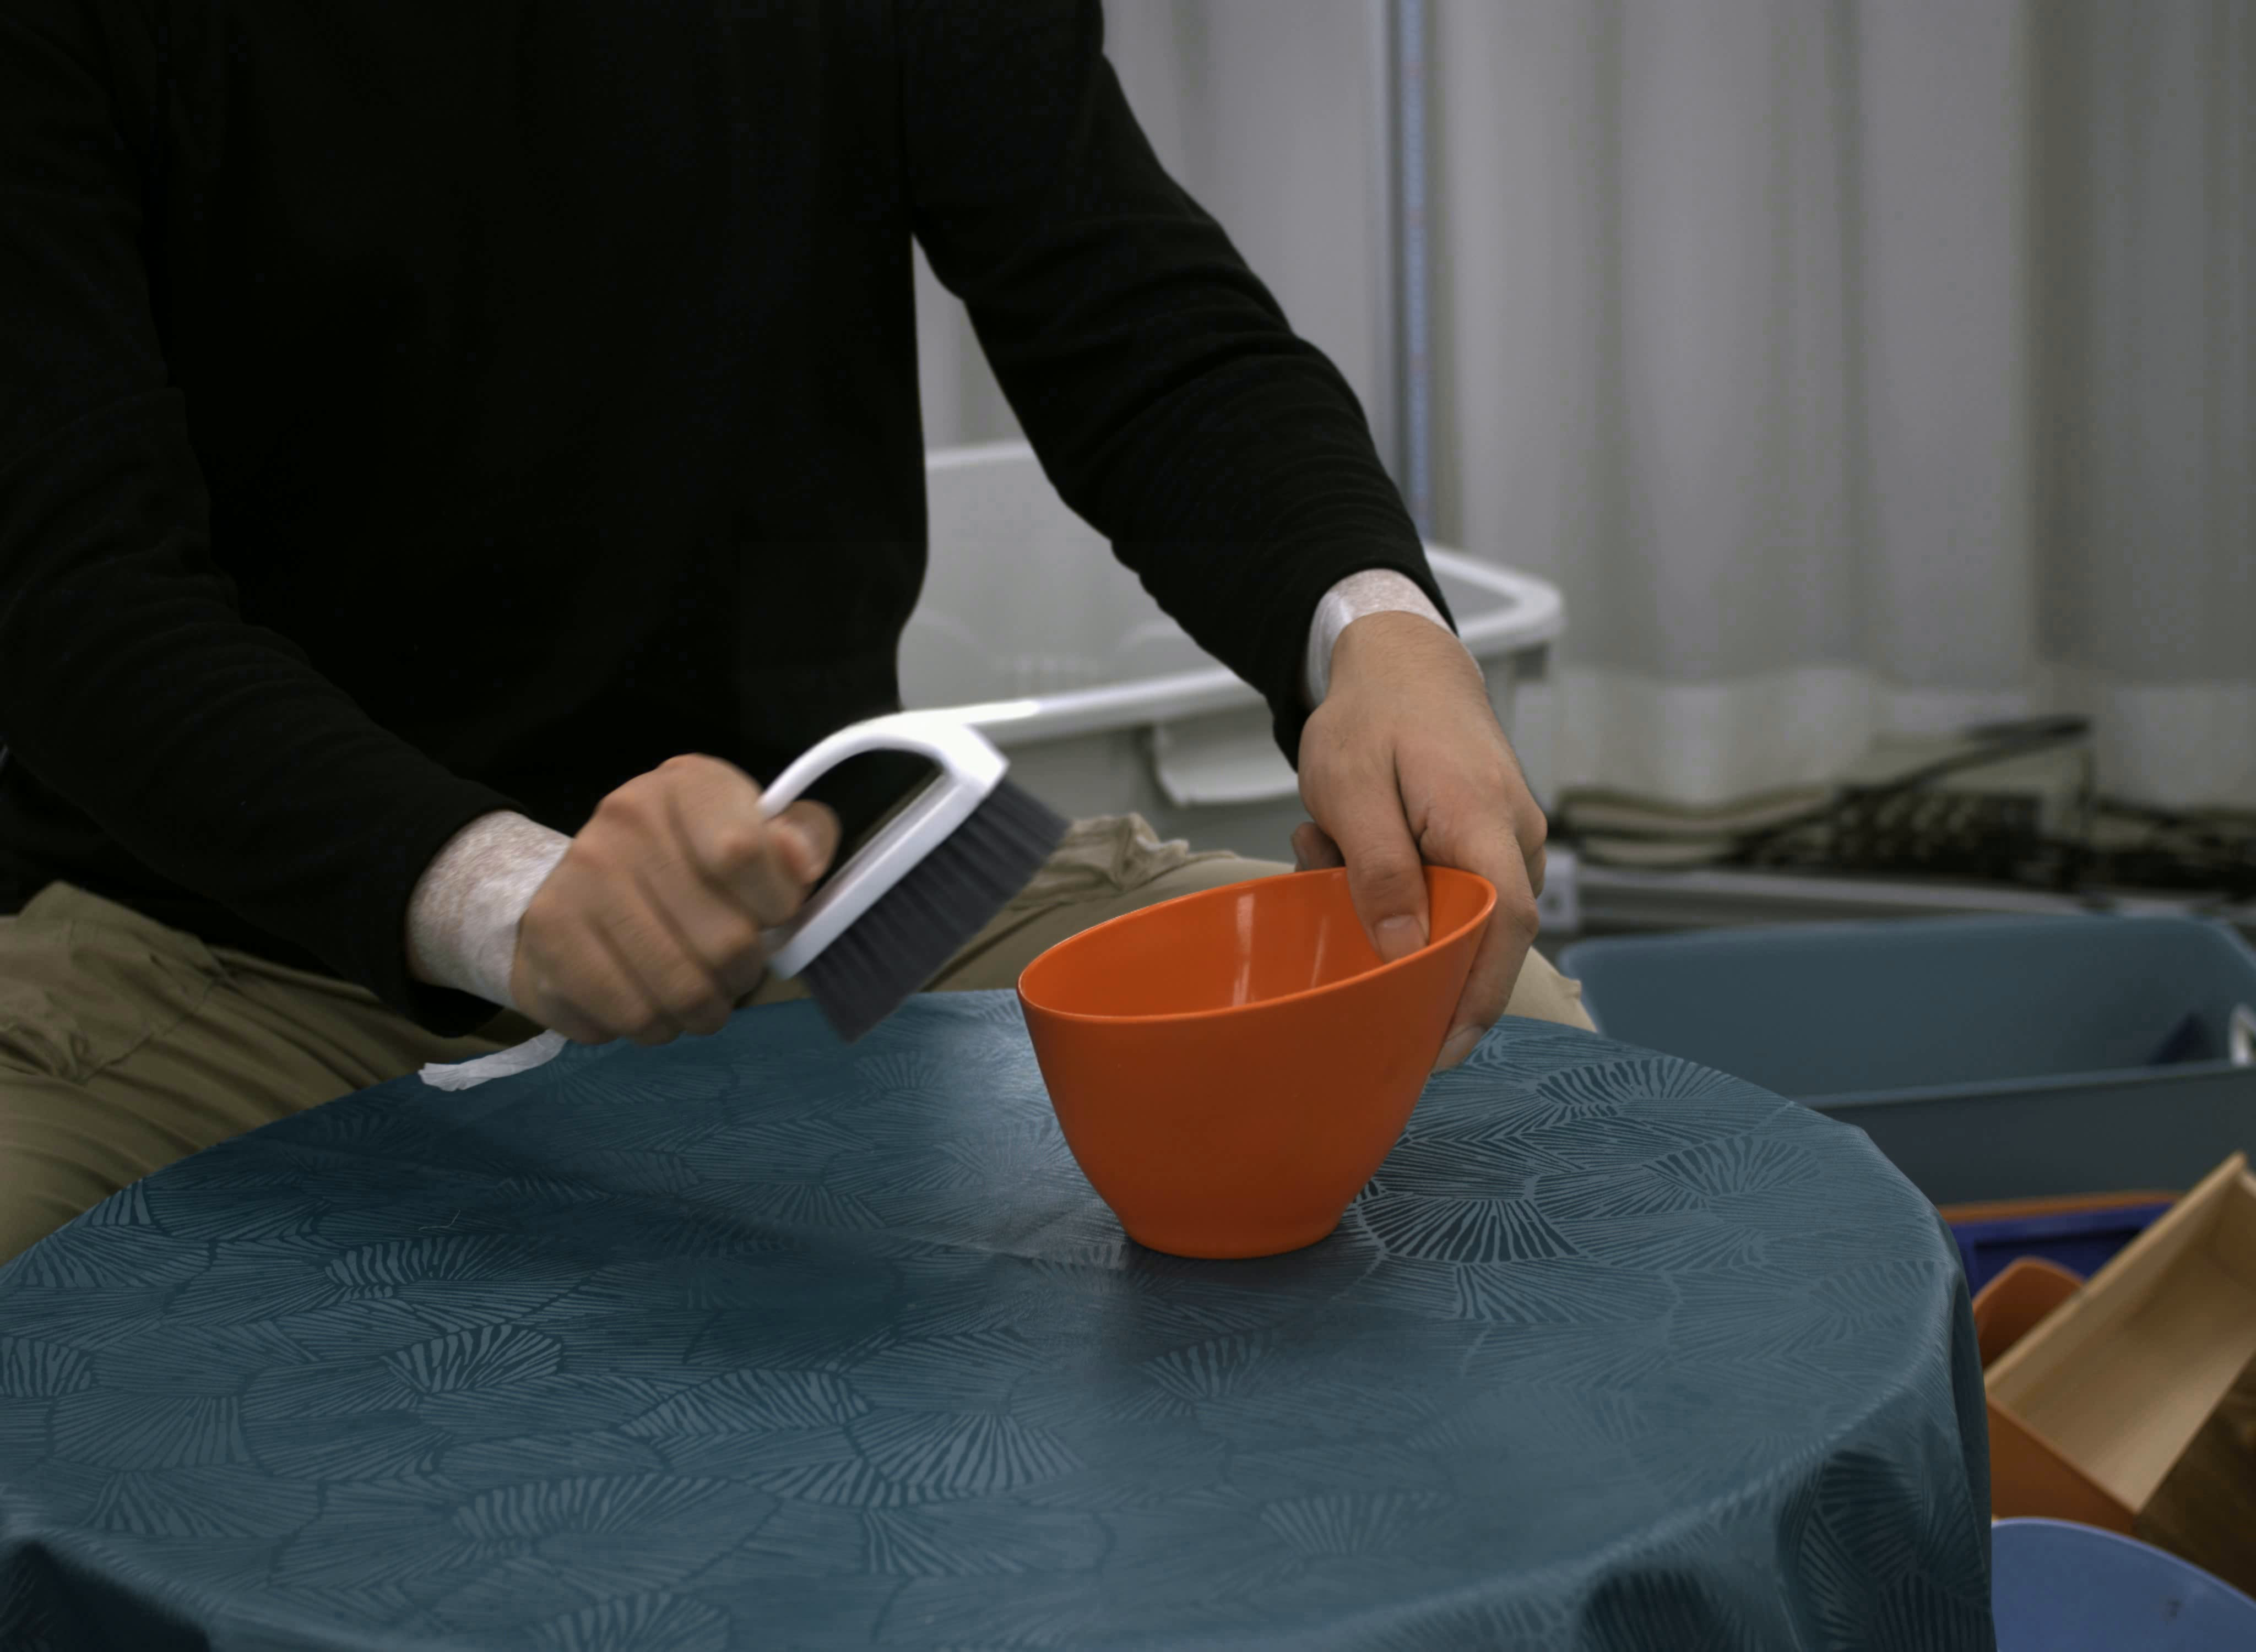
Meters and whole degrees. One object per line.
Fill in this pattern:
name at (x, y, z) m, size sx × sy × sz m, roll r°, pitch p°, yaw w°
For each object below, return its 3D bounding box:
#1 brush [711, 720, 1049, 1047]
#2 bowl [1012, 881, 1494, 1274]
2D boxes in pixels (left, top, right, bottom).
brush at (-0.081, 0.010, 1.624) m, size 0.098 × 0.072 × 0.051 m, roll -43°, pitch 9°, yaw 29°
bowl at (0.039, 0.077, 1.661) m, size 0.147 × 0.104 × 0.149 m, roll -3°, pitch 13°, yaw 0°
